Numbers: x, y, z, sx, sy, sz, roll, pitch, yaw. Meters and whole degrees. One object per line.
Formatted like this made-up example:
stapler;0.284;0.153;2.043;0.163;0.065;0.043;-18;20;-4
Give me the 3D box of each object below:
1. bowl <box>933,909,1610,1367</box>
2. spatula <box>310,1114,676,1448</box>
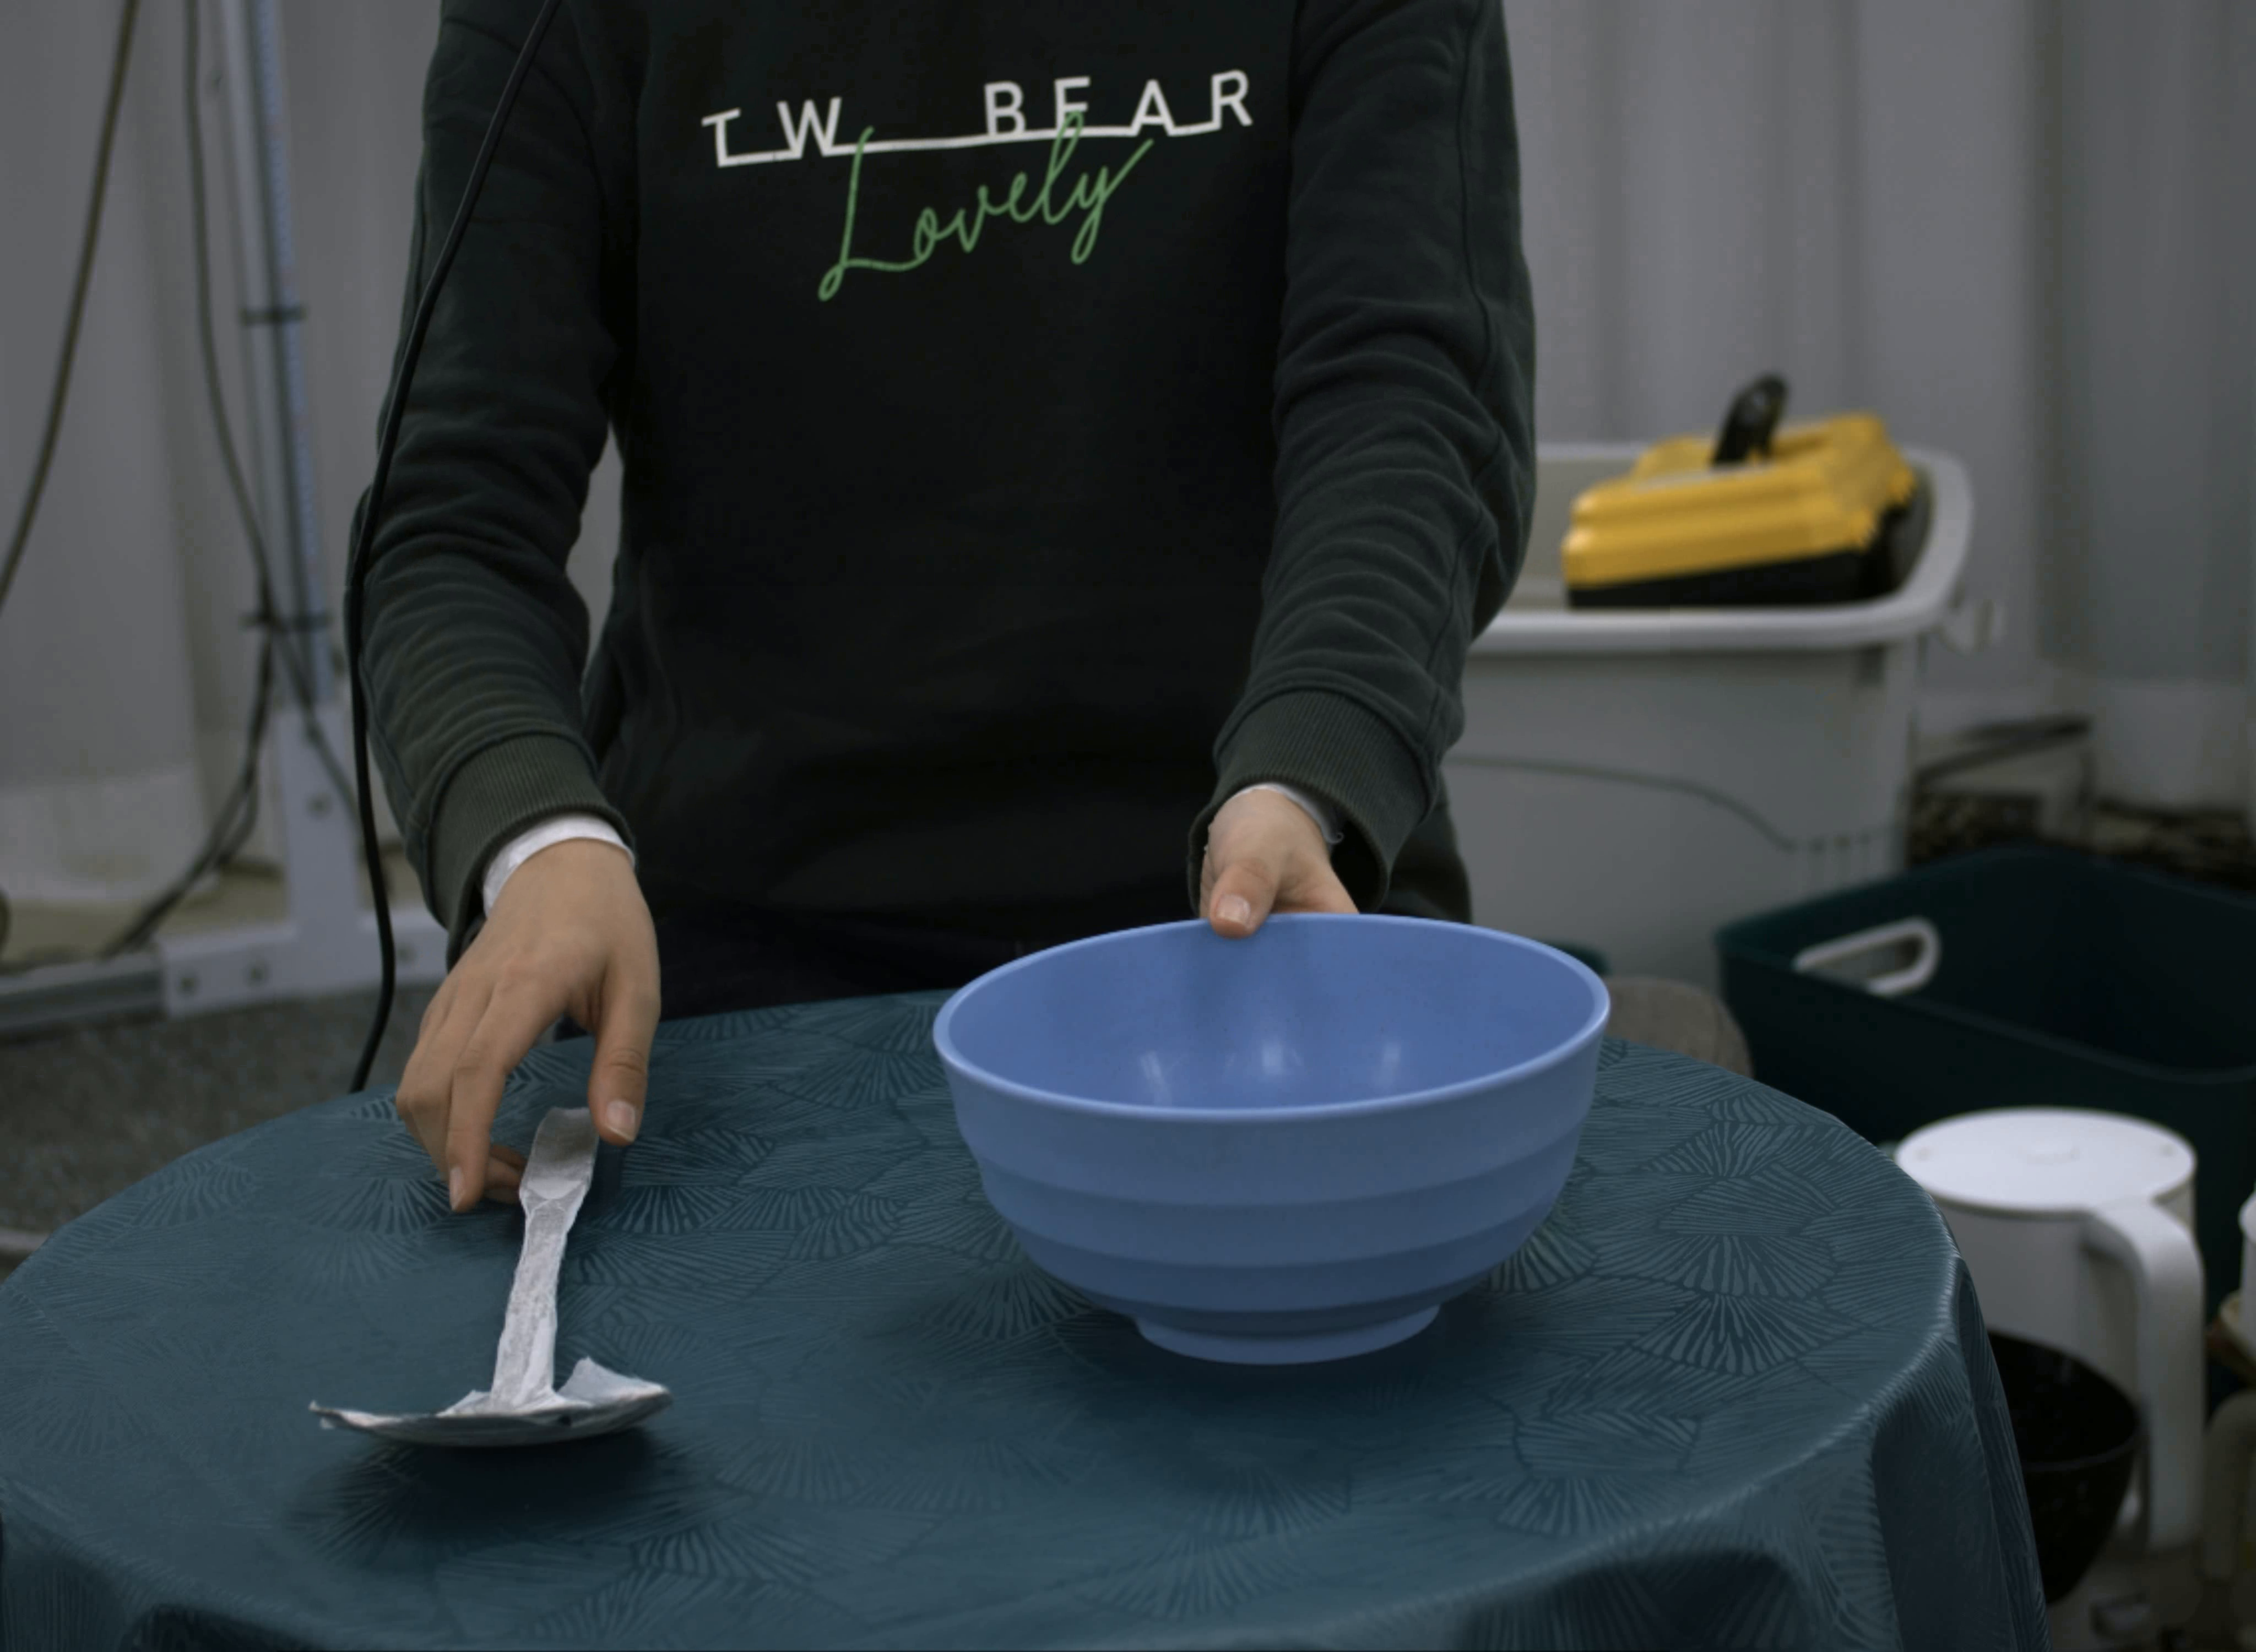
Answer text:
bowl;0.044;0.097;1.590;0.196;0.095;0.198;-4;16;1
spatula;-0.172;0.126;1.628;0.098;0.044;0.367;-5;15;1
